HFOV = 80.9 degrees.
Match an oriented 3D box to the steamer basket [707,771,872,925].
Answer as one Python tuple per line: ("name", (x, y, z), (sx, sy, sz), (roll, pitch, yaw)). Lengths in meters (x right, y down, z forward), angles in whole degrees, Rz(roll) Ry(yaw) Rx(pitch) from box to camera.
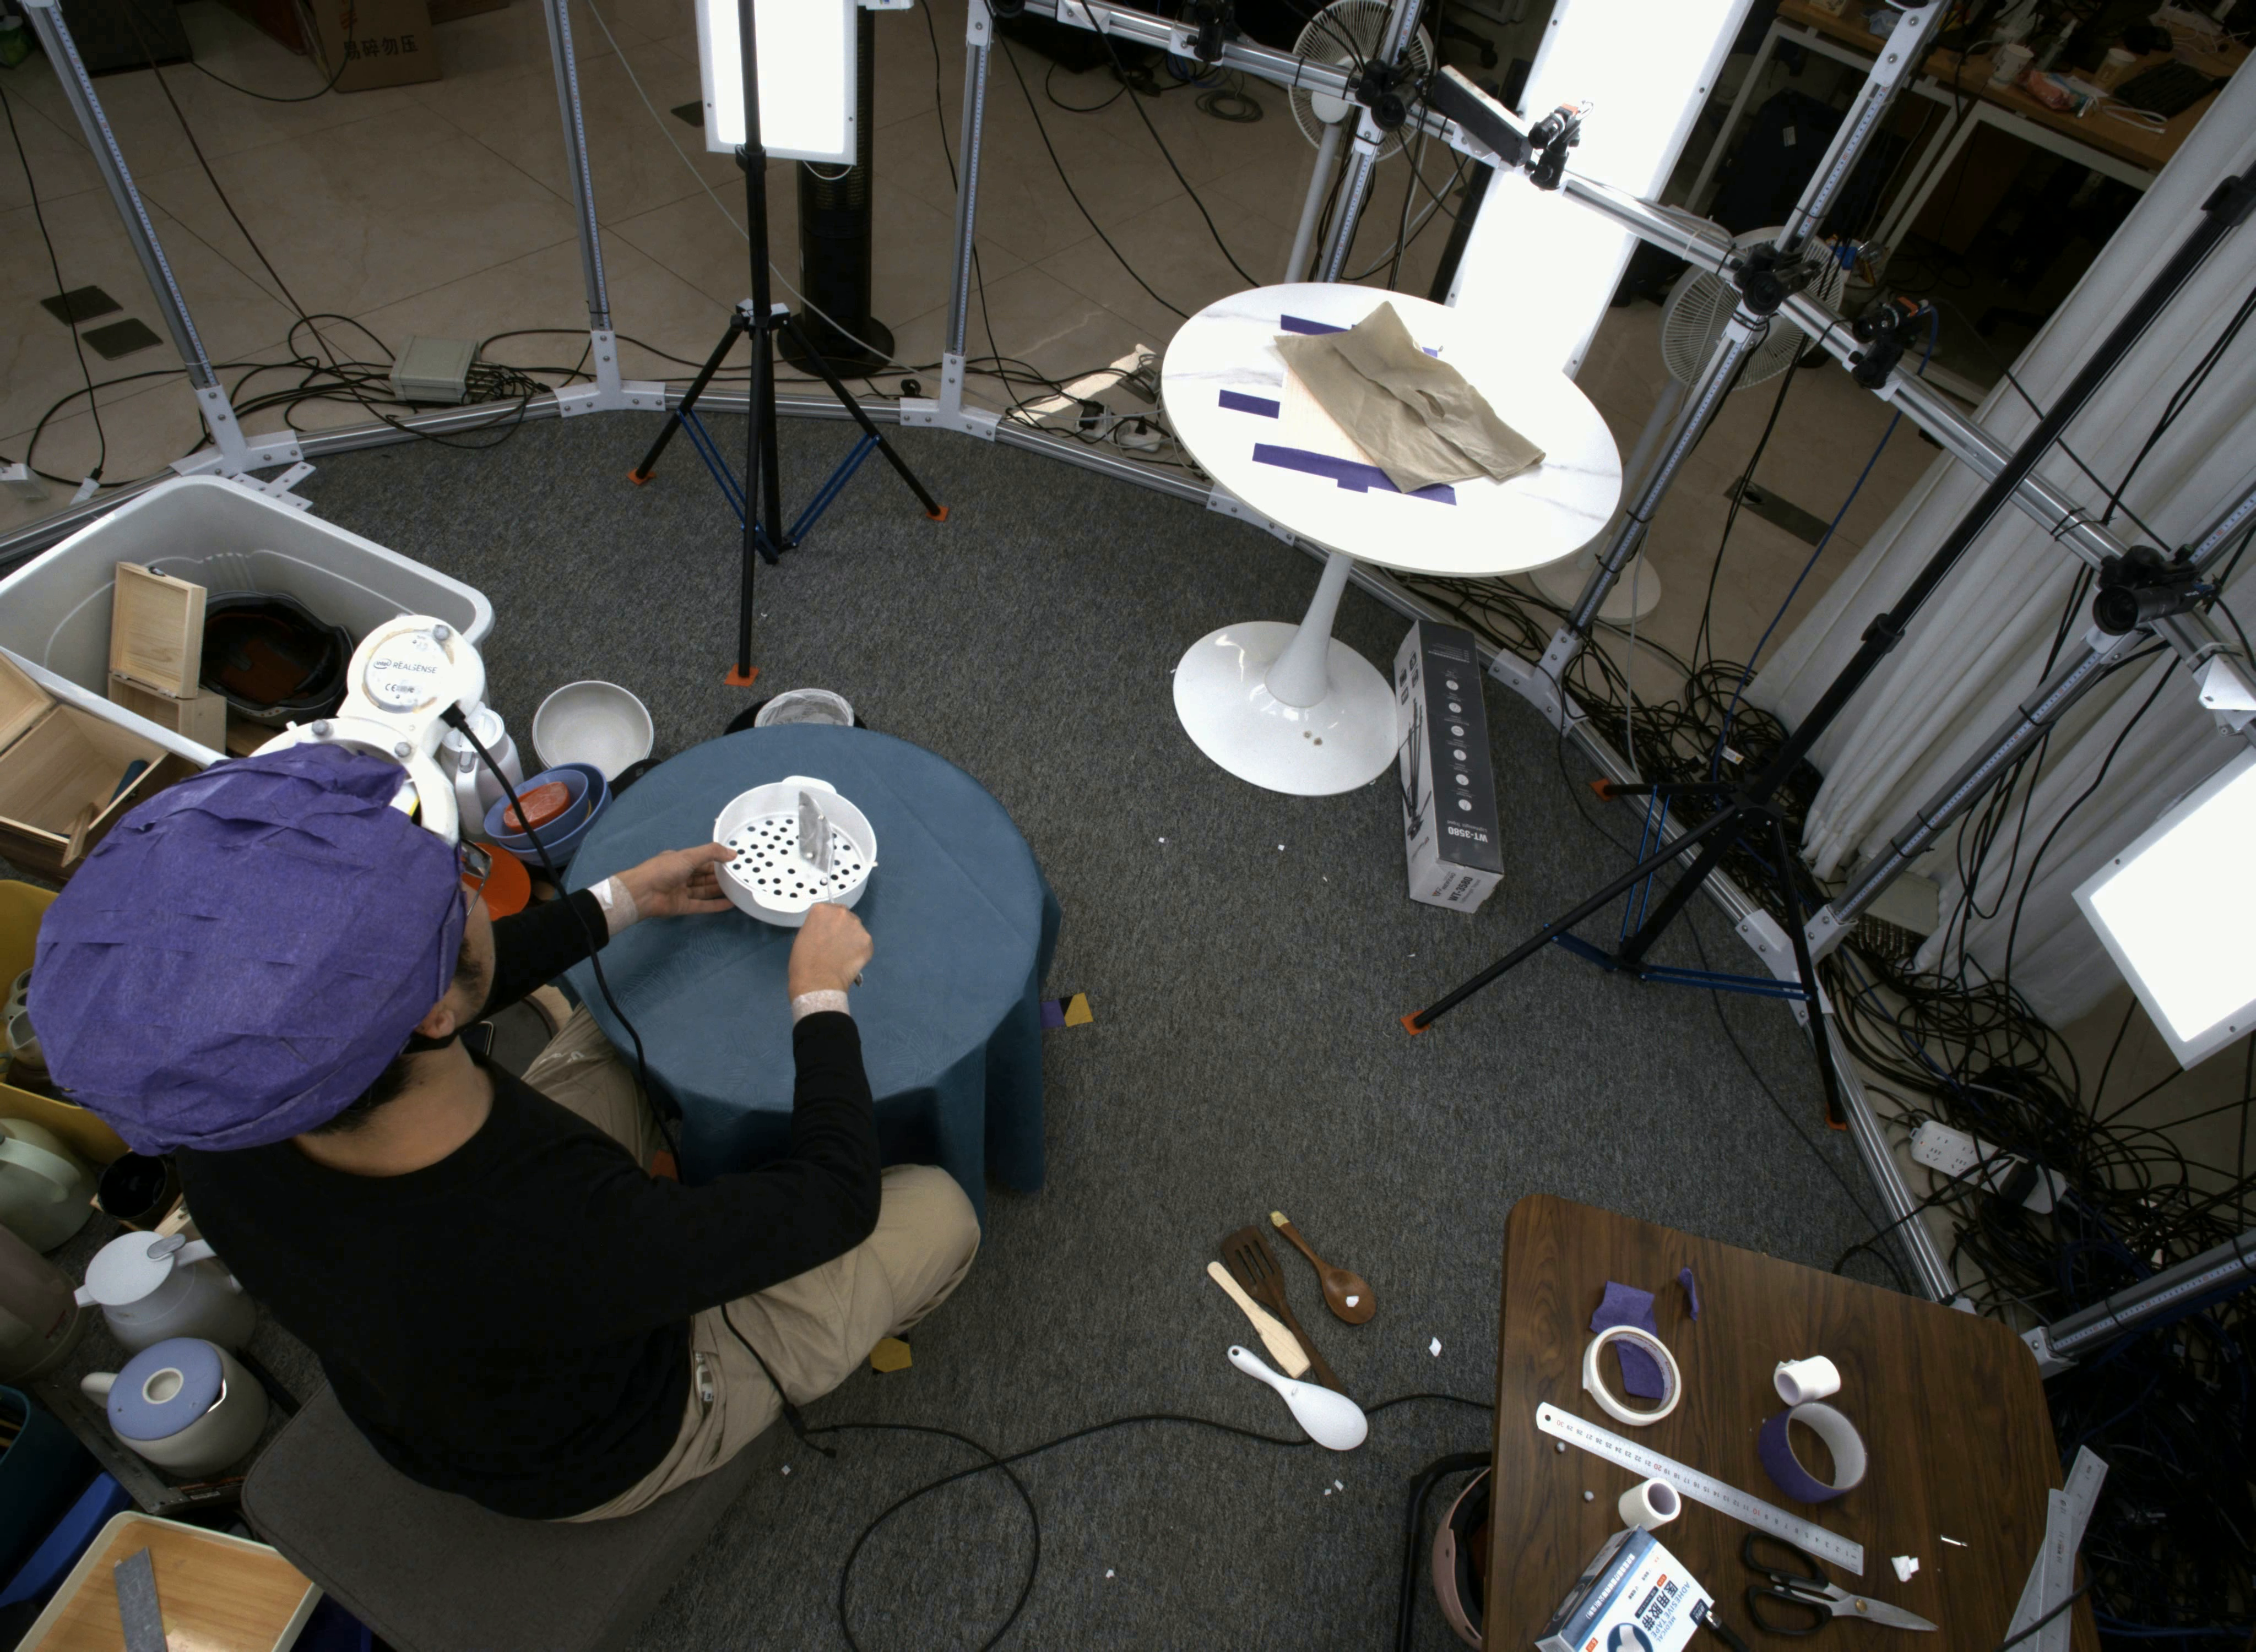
("steamer basket", (-0.428, 0.032, 1.637), (0.202, 0.070, 0.226), (12, 46, -13))

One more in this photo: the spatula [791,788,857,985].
("spatula", (-0.361, 0.072, 1.525), (0.045, 0.101, 0.353), (-2, 30, -18))
